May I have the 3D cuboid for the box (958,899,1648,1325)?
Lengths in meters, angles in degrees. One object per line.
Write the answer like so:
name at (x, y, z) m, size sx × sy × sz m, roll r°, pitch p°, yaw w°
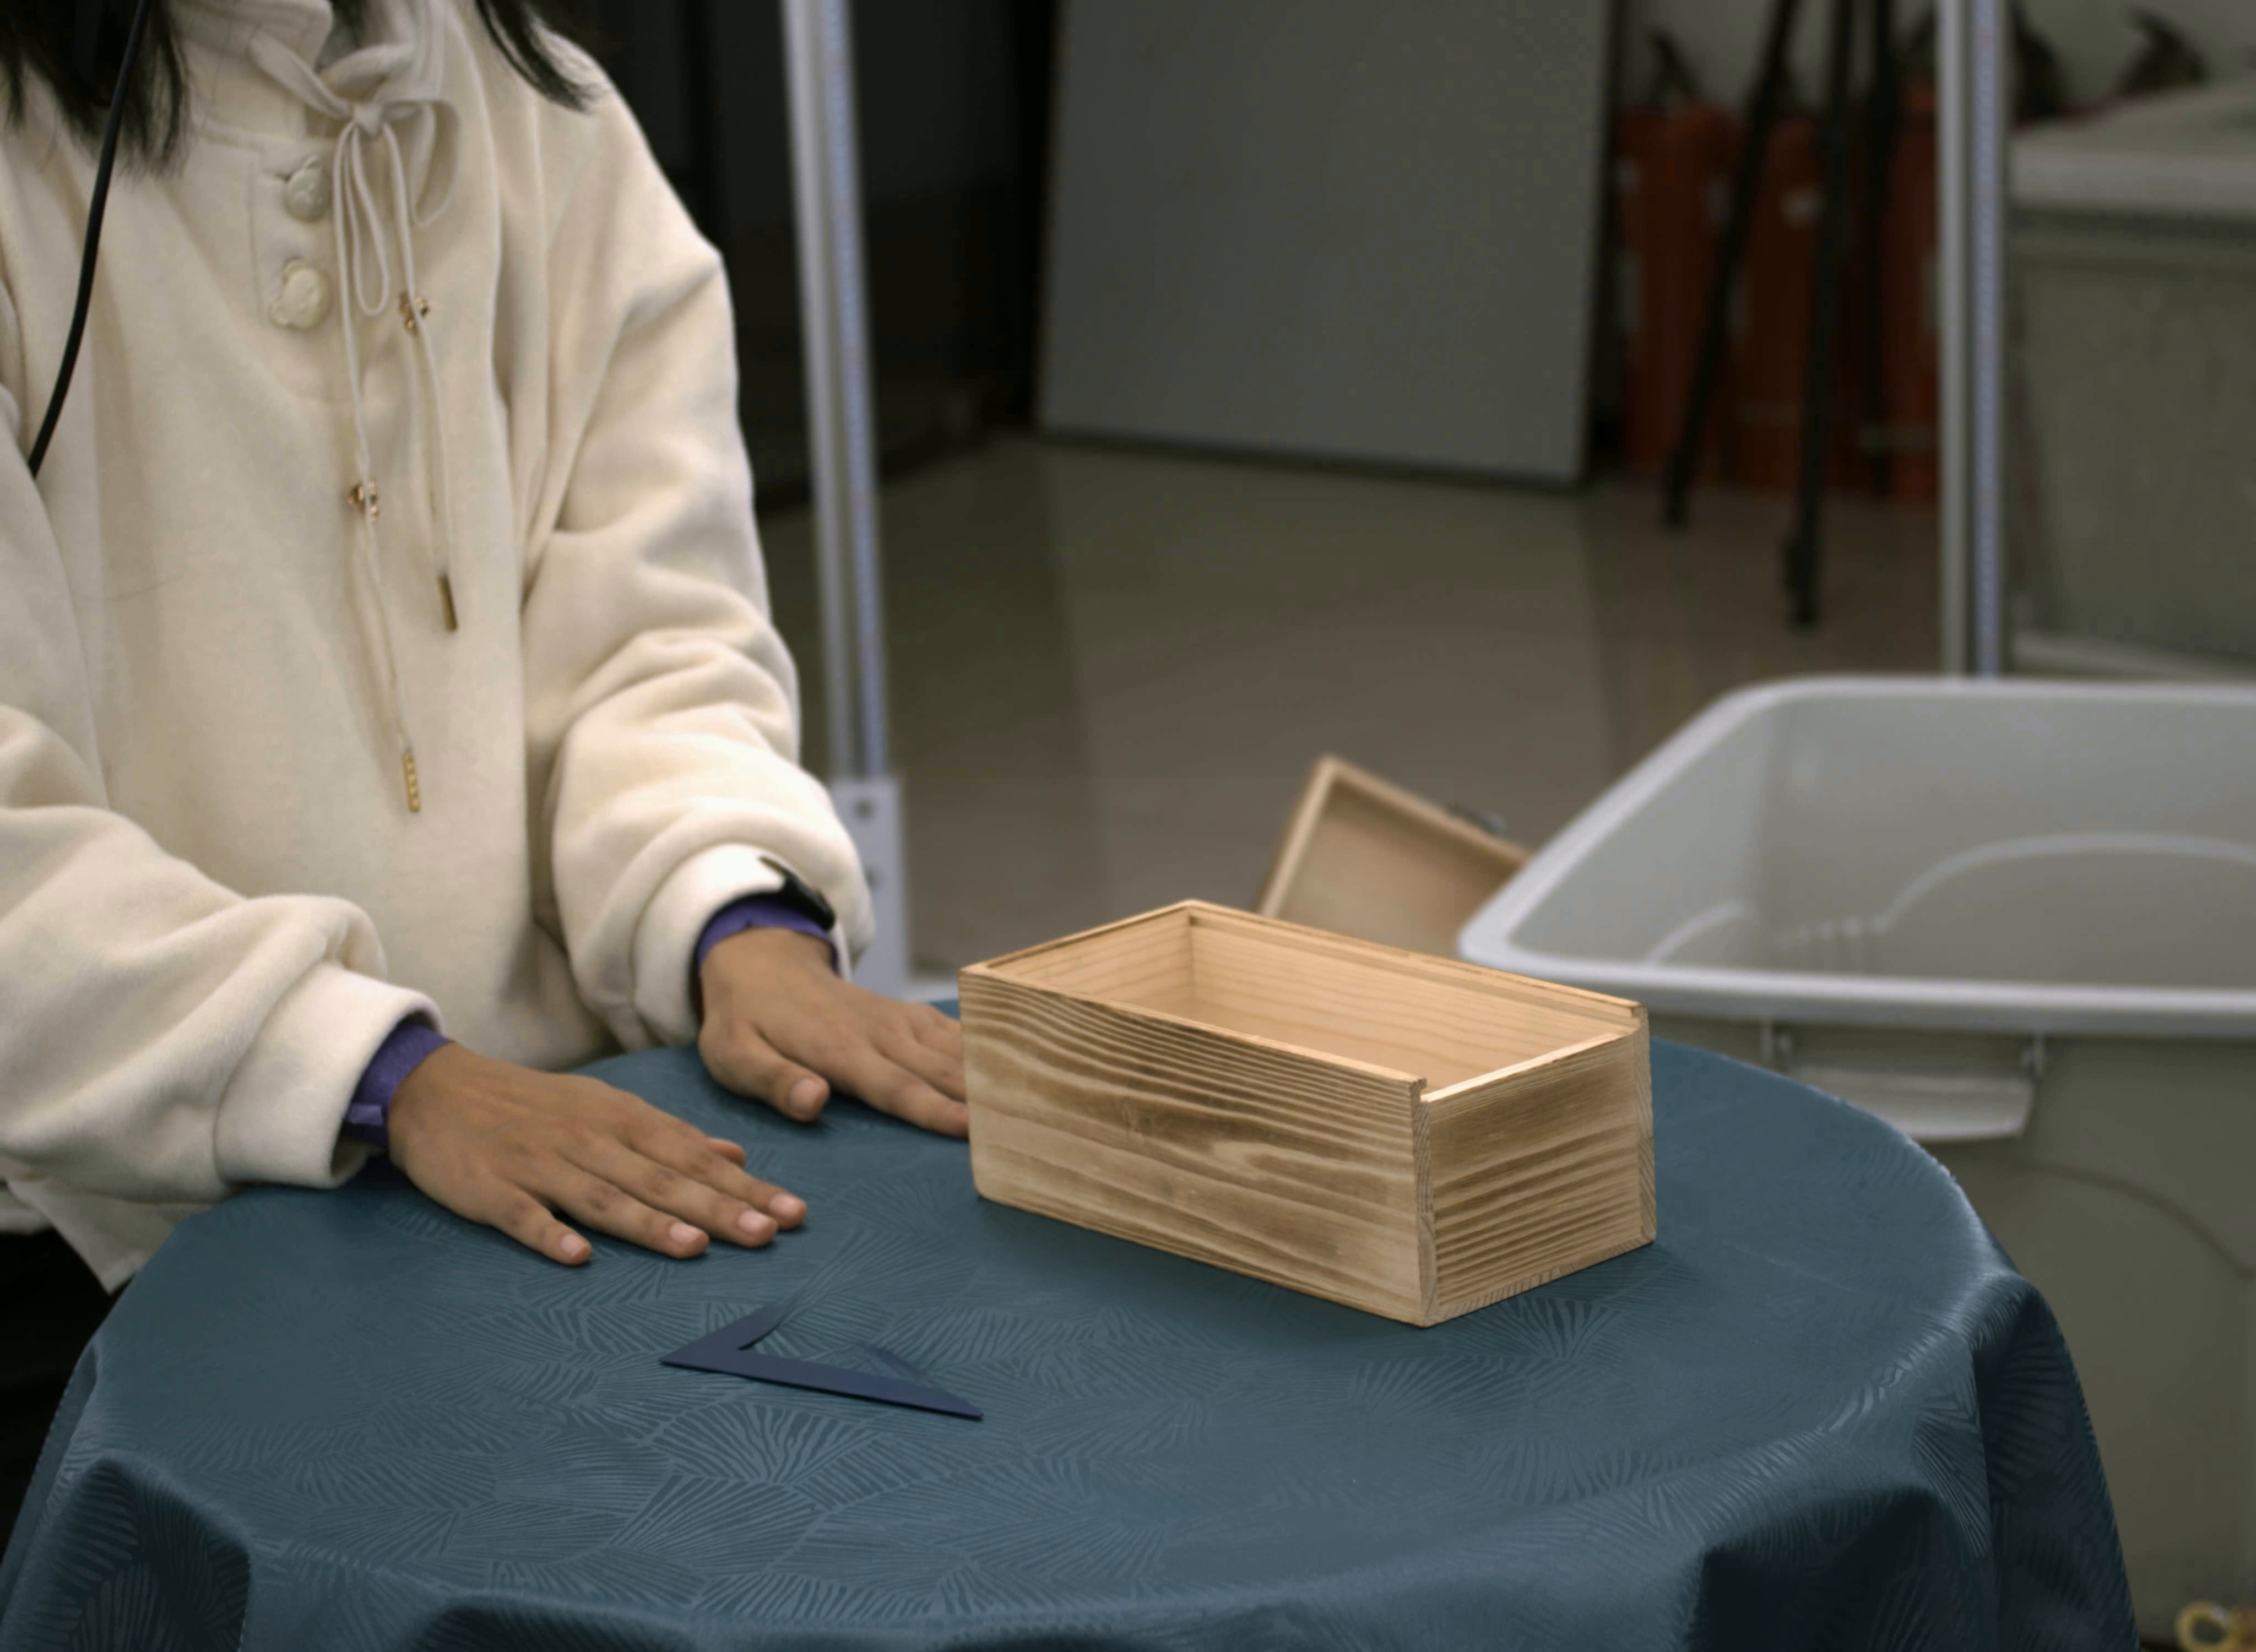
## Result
box at (0.054, 0.088, 1.721) m, size 0.105 × 0.081 × 0.213 m, roll -14°, pitch 17°, yaw -40°

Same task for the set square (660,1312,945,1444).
set square at (-0.100, 0.166, 1.608) m, size 0.060 × 0.006 × 0.133 m, roll -9°, pitch 14°, yaw -20°
